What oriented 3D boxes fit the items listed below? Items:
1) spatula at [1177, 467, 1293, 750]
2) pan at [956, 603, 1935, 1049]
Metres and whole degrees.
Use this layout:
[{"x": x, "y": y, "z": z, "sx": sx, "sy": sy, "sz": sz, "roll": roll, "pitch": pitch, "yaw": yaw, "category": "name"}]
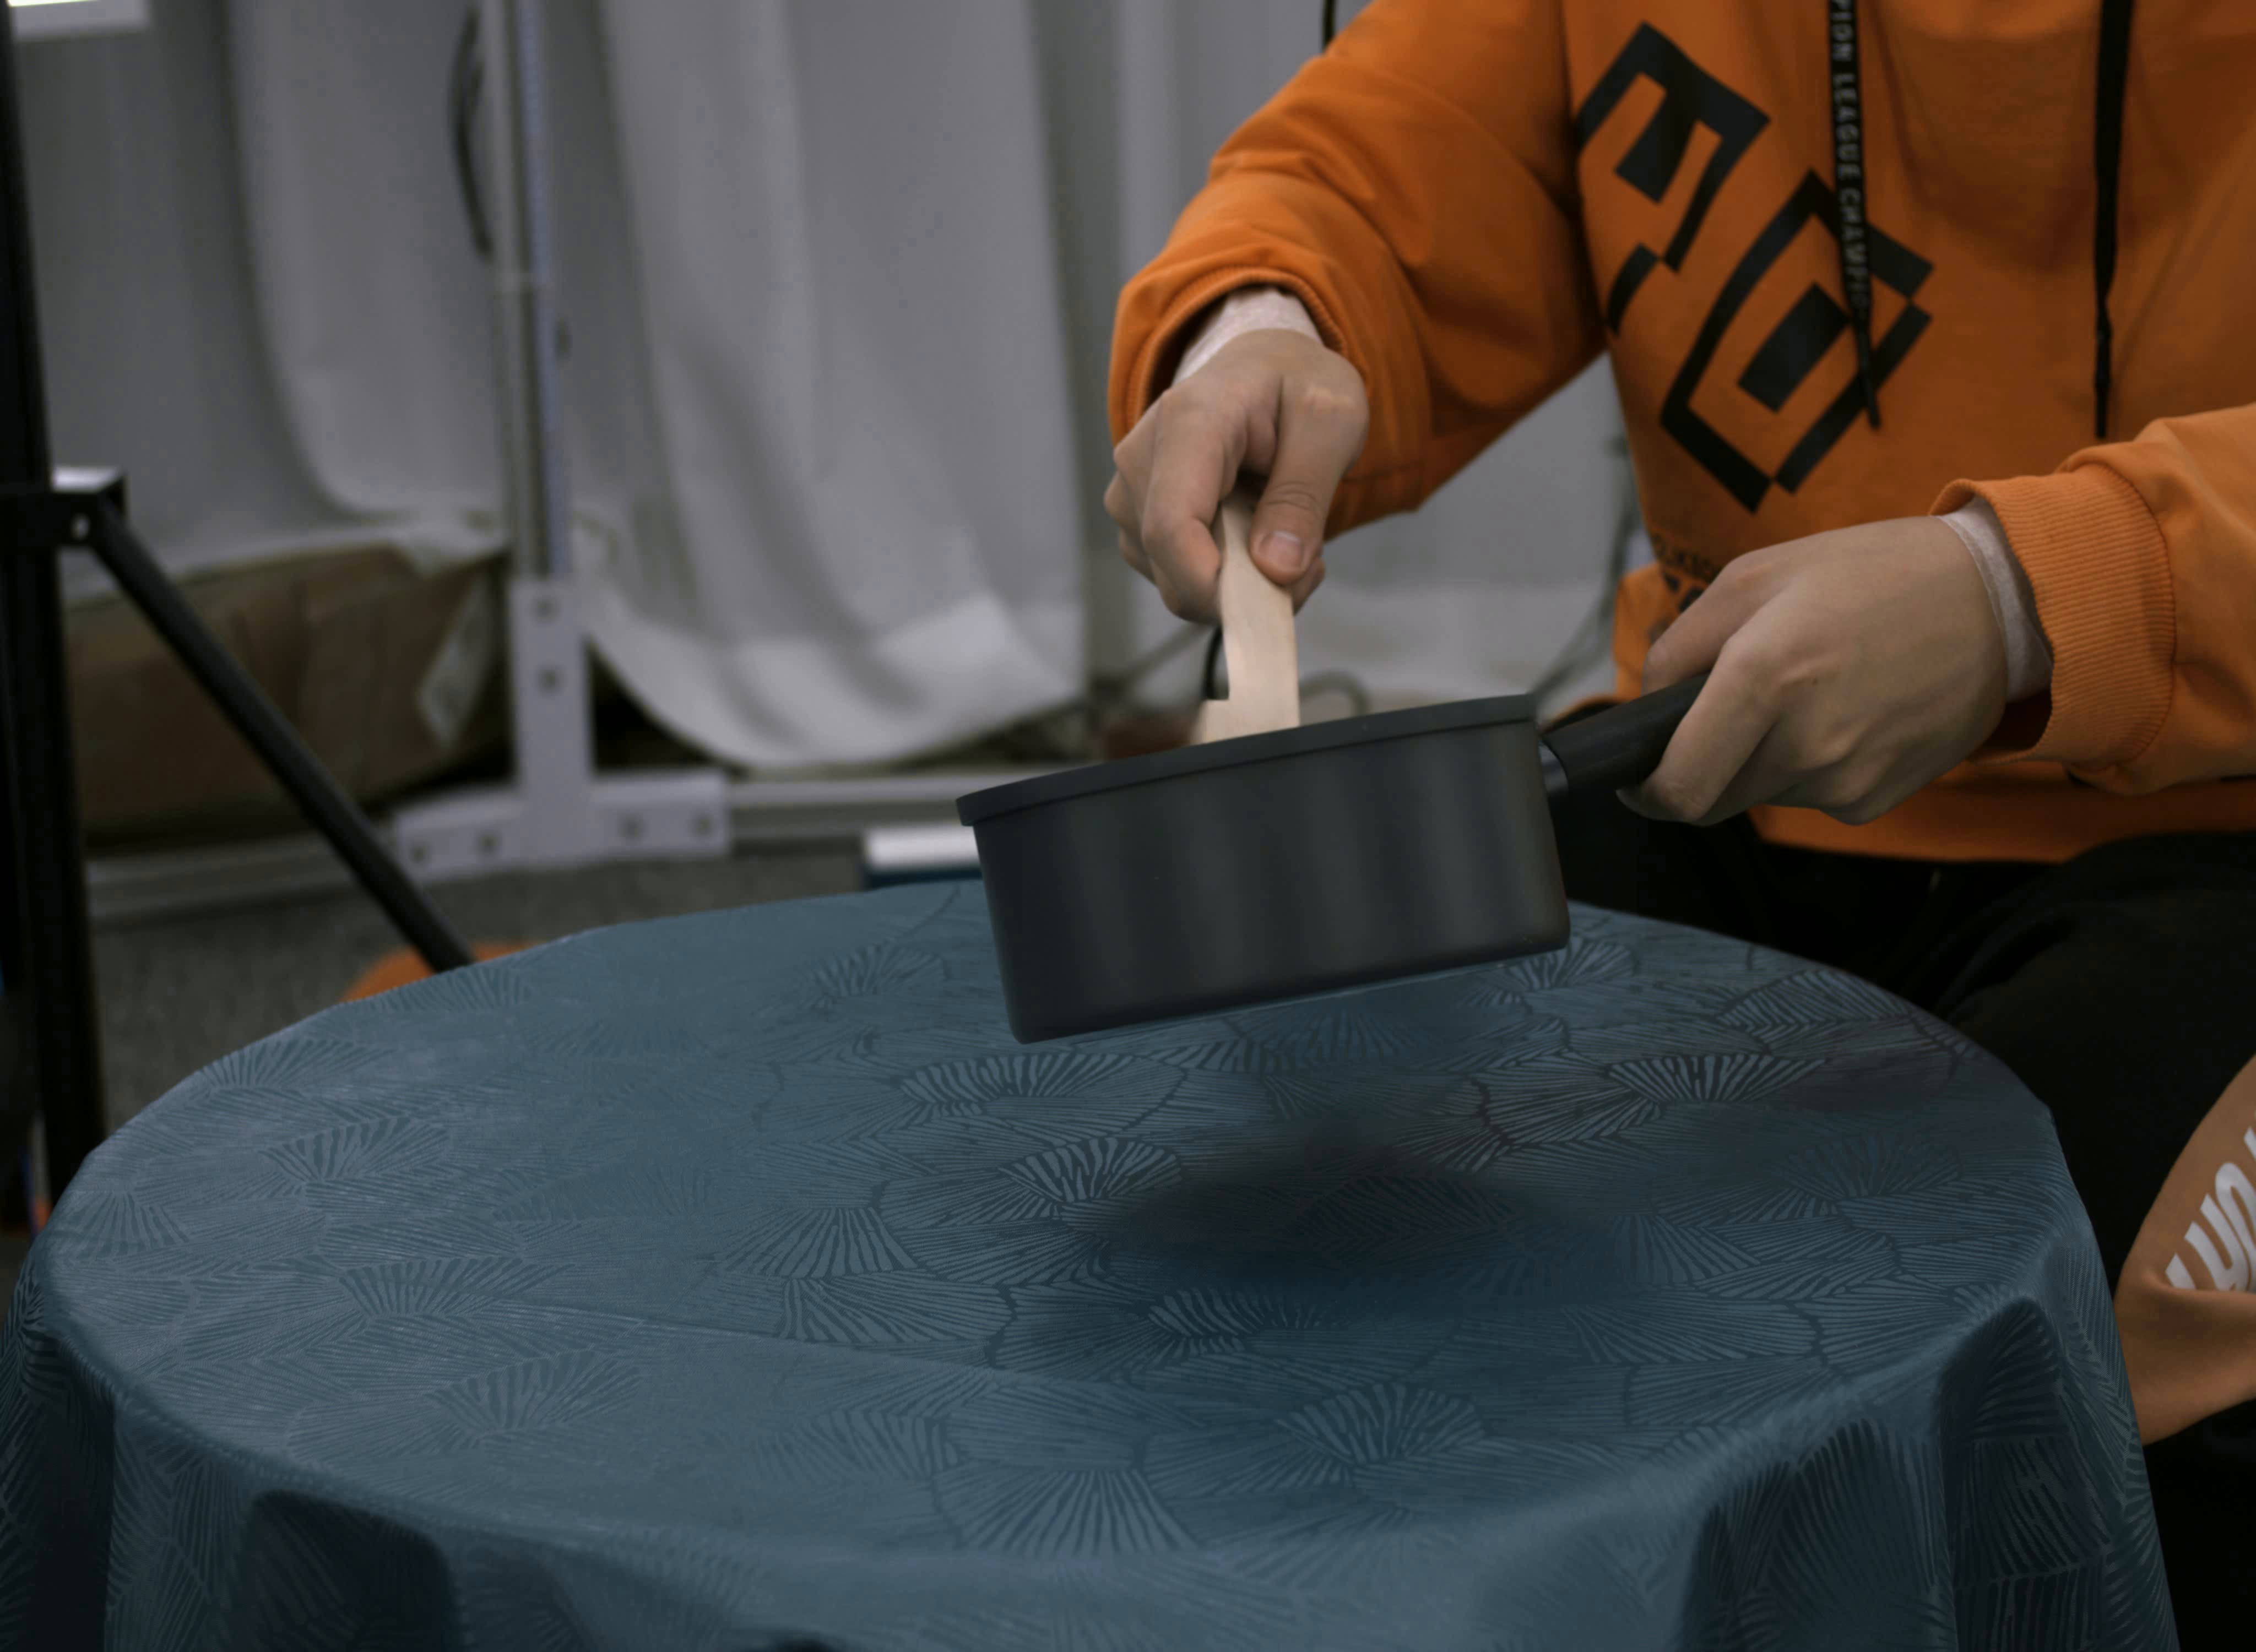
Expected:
[{"x": 0.040, "y": -0.047, "z": 1.620, "sx": 0.071, "sy": 0.011, "sz": 0.295, "roll": 37, "pitch": 20, "yaw": -17, "category": "spatula"}, {"x": 0.107, "y": 0.000, "z": 1.555, "sx": 0.321, "sy": 0.087, "sz": 0.175, "roll": -10, "pitch": -1, "yaw": -29, "category": "pan"}]
